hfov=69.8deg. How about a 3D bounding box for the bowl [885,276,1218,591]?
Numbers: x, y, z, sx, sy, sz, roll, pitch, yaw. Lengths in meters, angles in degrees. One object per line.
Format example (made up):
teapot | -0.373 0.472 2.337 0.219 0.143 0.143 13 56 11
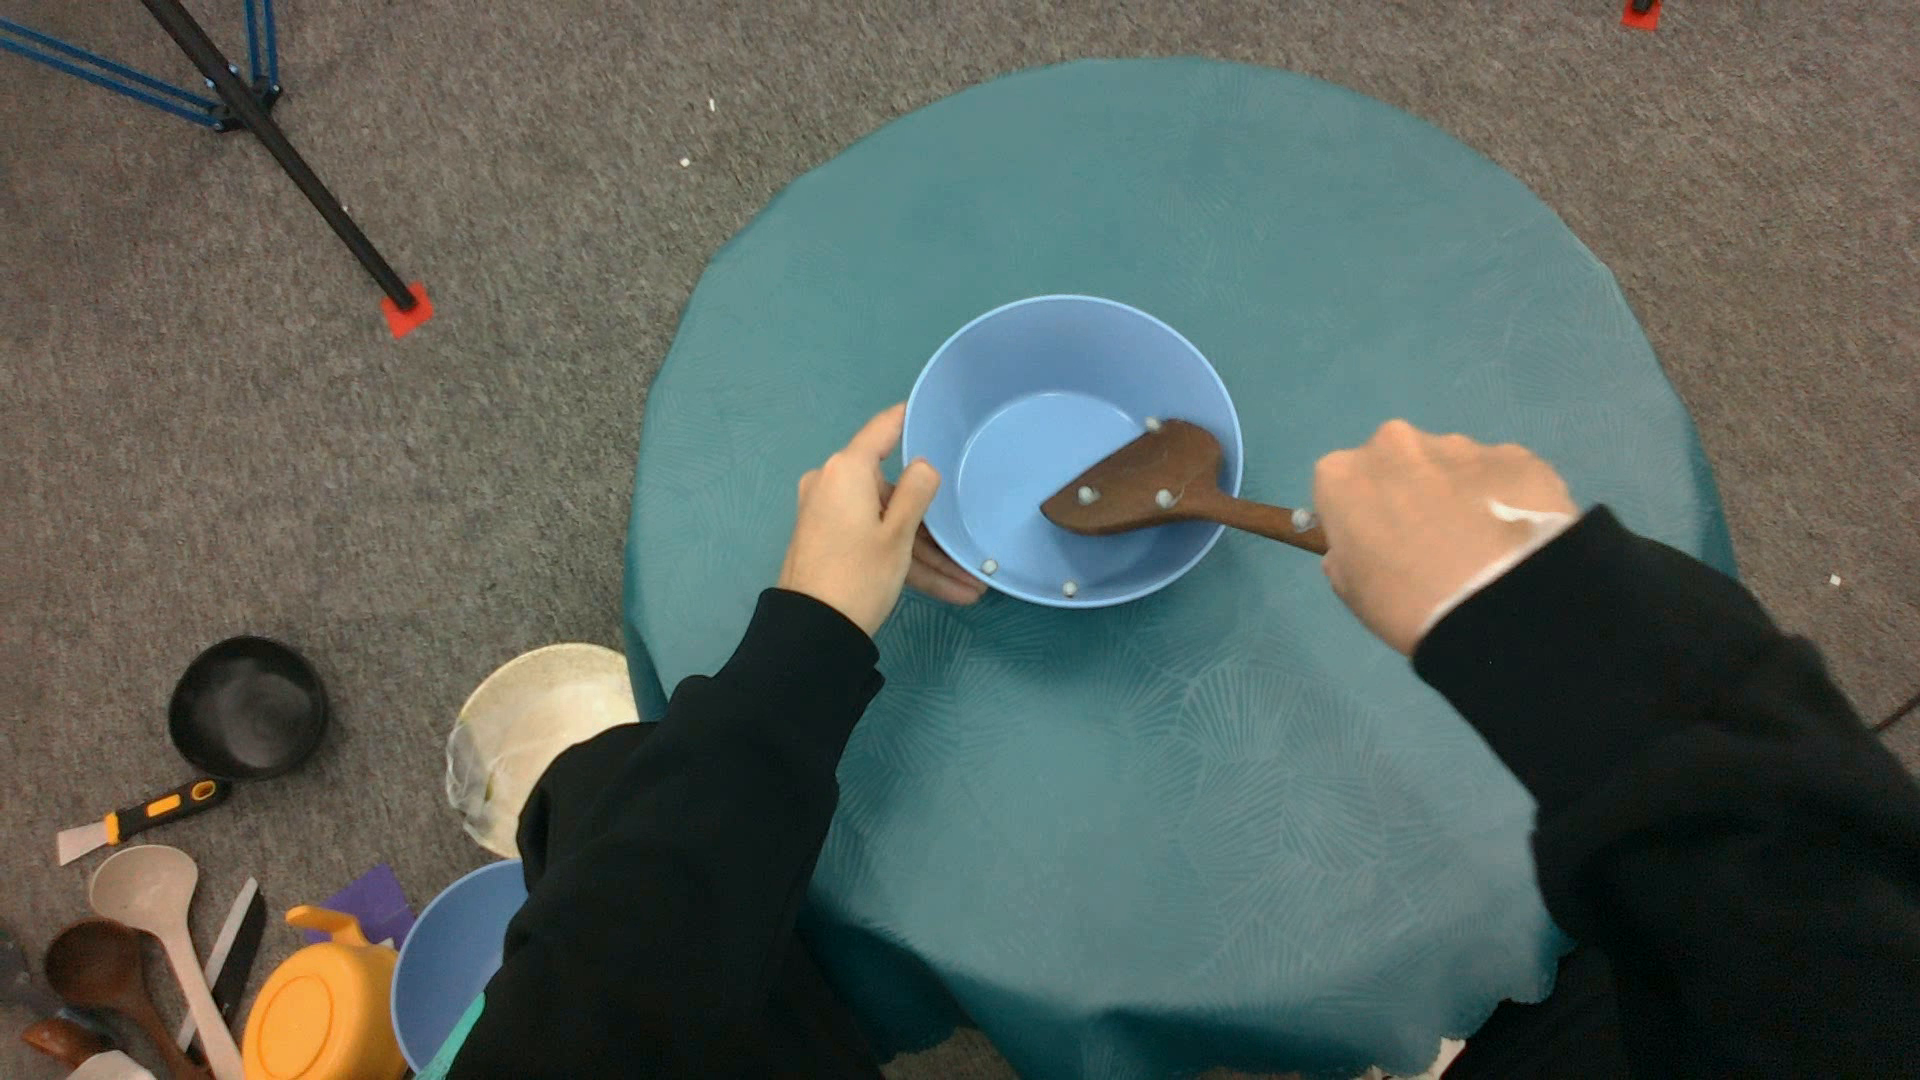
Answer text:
bowl | 0.045 -0.049 0.740 0.176 0.070 0.176 2 71 -7

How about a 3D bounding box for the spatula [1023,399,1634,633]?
spatula | 0.130 -0.015 0.582 0.096 0.386 0.016 -35 109 -10
